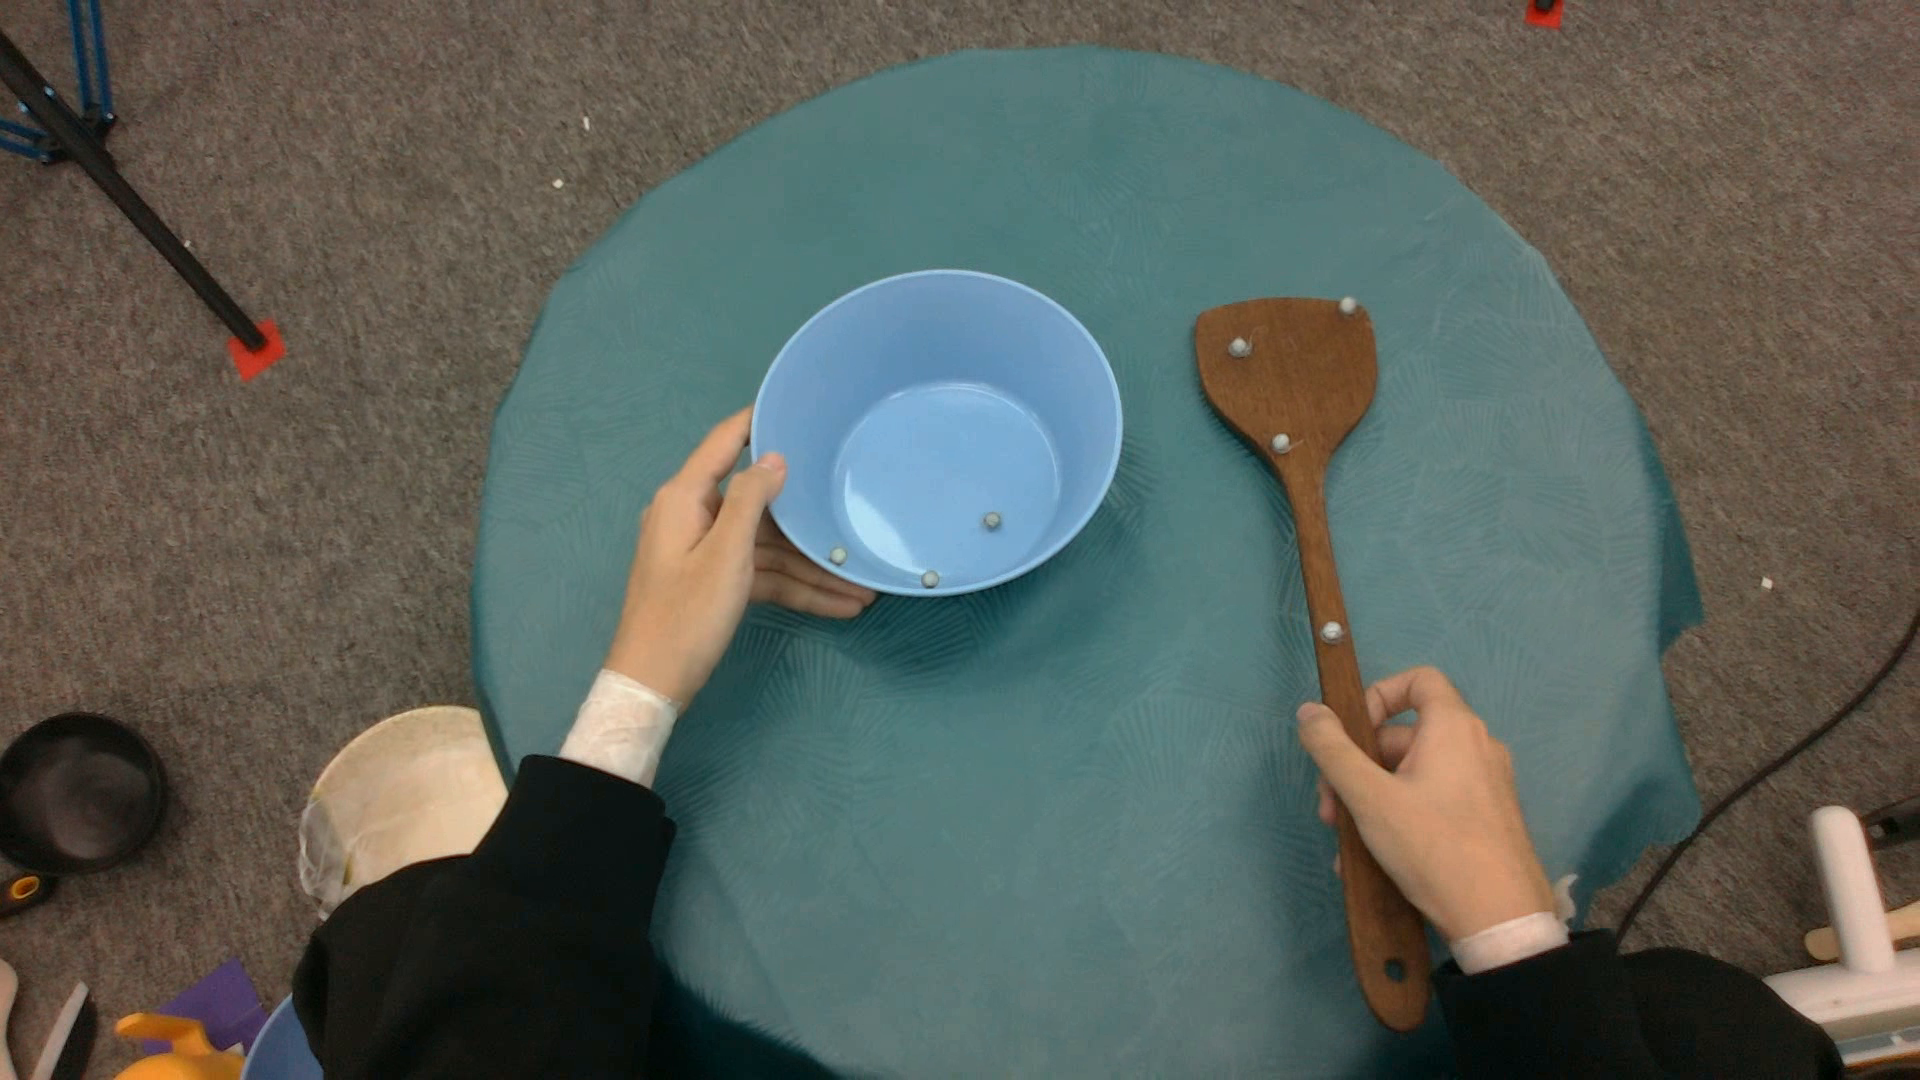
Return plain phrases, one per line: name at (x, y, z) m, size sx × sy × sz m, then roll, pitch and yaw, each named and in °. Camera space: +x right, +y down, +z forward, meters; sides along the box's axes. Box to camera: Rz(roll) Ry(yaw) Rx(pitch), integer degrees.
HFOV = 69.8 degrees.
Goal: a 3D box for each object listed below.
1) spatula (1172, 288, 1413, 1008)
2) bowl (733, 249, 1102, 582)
spatula at (0.163, 0.021, 0.644) m, size 0.096 × 0.016 × 0.387 m, roll -1°, pitch 55°, yaw 1°
bowl at (-0.019, -0.051, 0.677) m, size 0.176 × 0.070 × 0.176 m, roll -1°, pitch 67°, yaw 3°
